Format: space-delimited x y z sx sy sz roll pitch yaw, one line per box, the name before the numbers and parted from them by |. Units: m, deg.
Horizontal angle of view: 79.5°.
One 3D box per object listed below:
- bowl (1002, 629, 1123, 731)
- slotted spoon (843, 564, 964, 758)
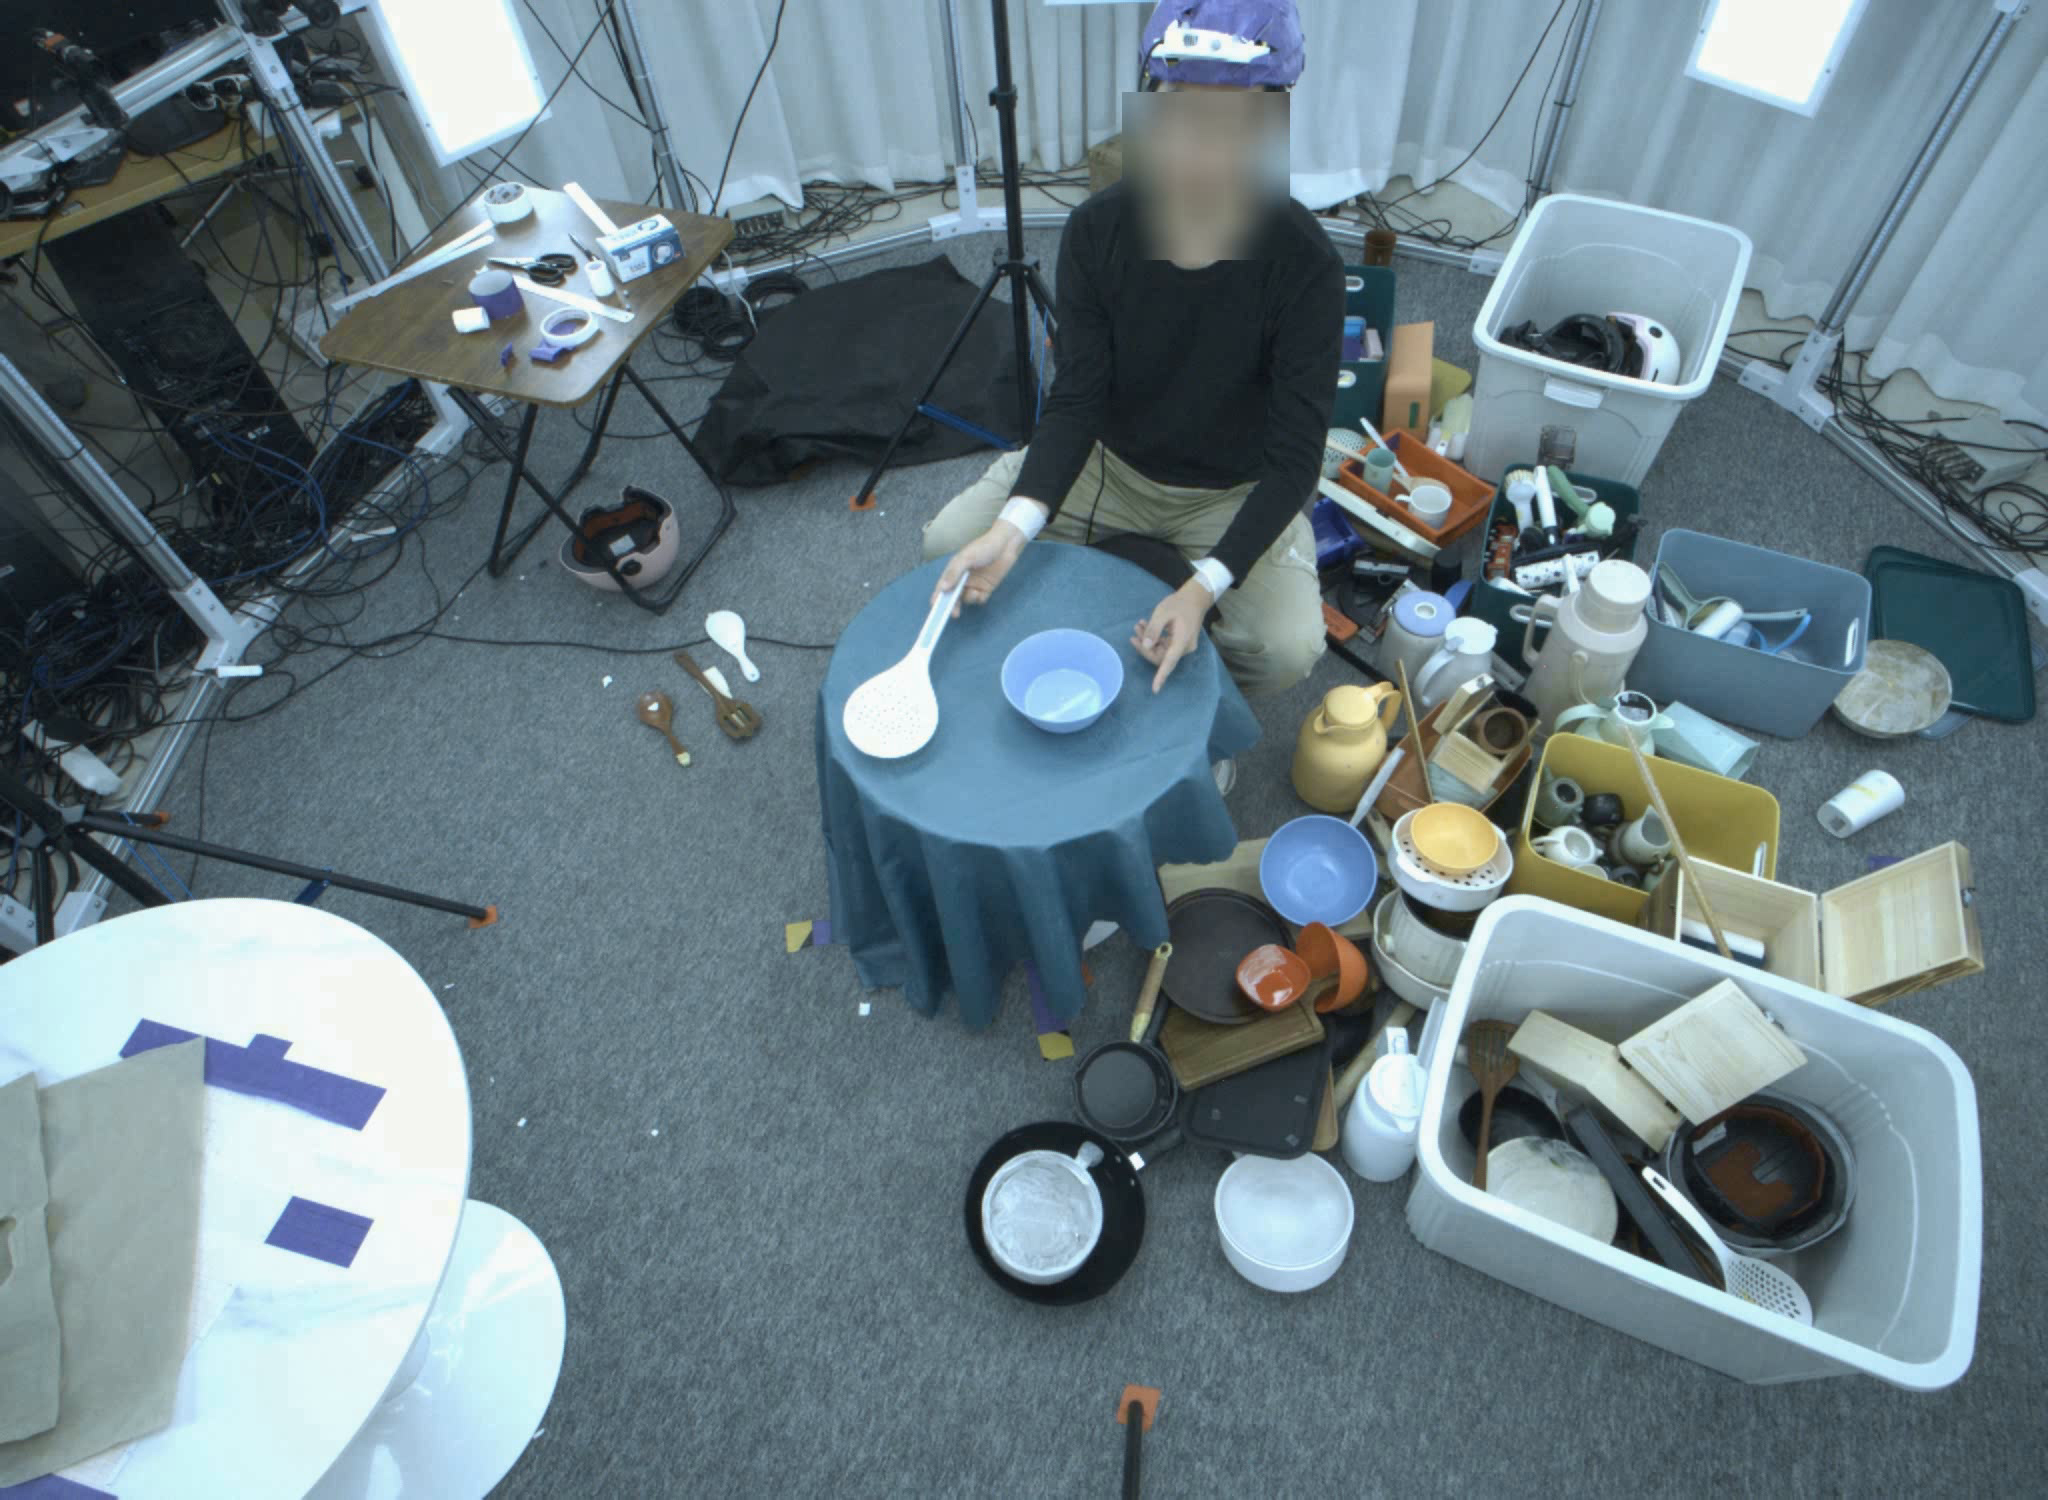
bowl | 0.057 -0.092 1.808 0.176 0.071 0.174 0 54 2
slotted spoon | -0.162 -0.138 1.832 0.135 0.046 0.349 16 69 8
